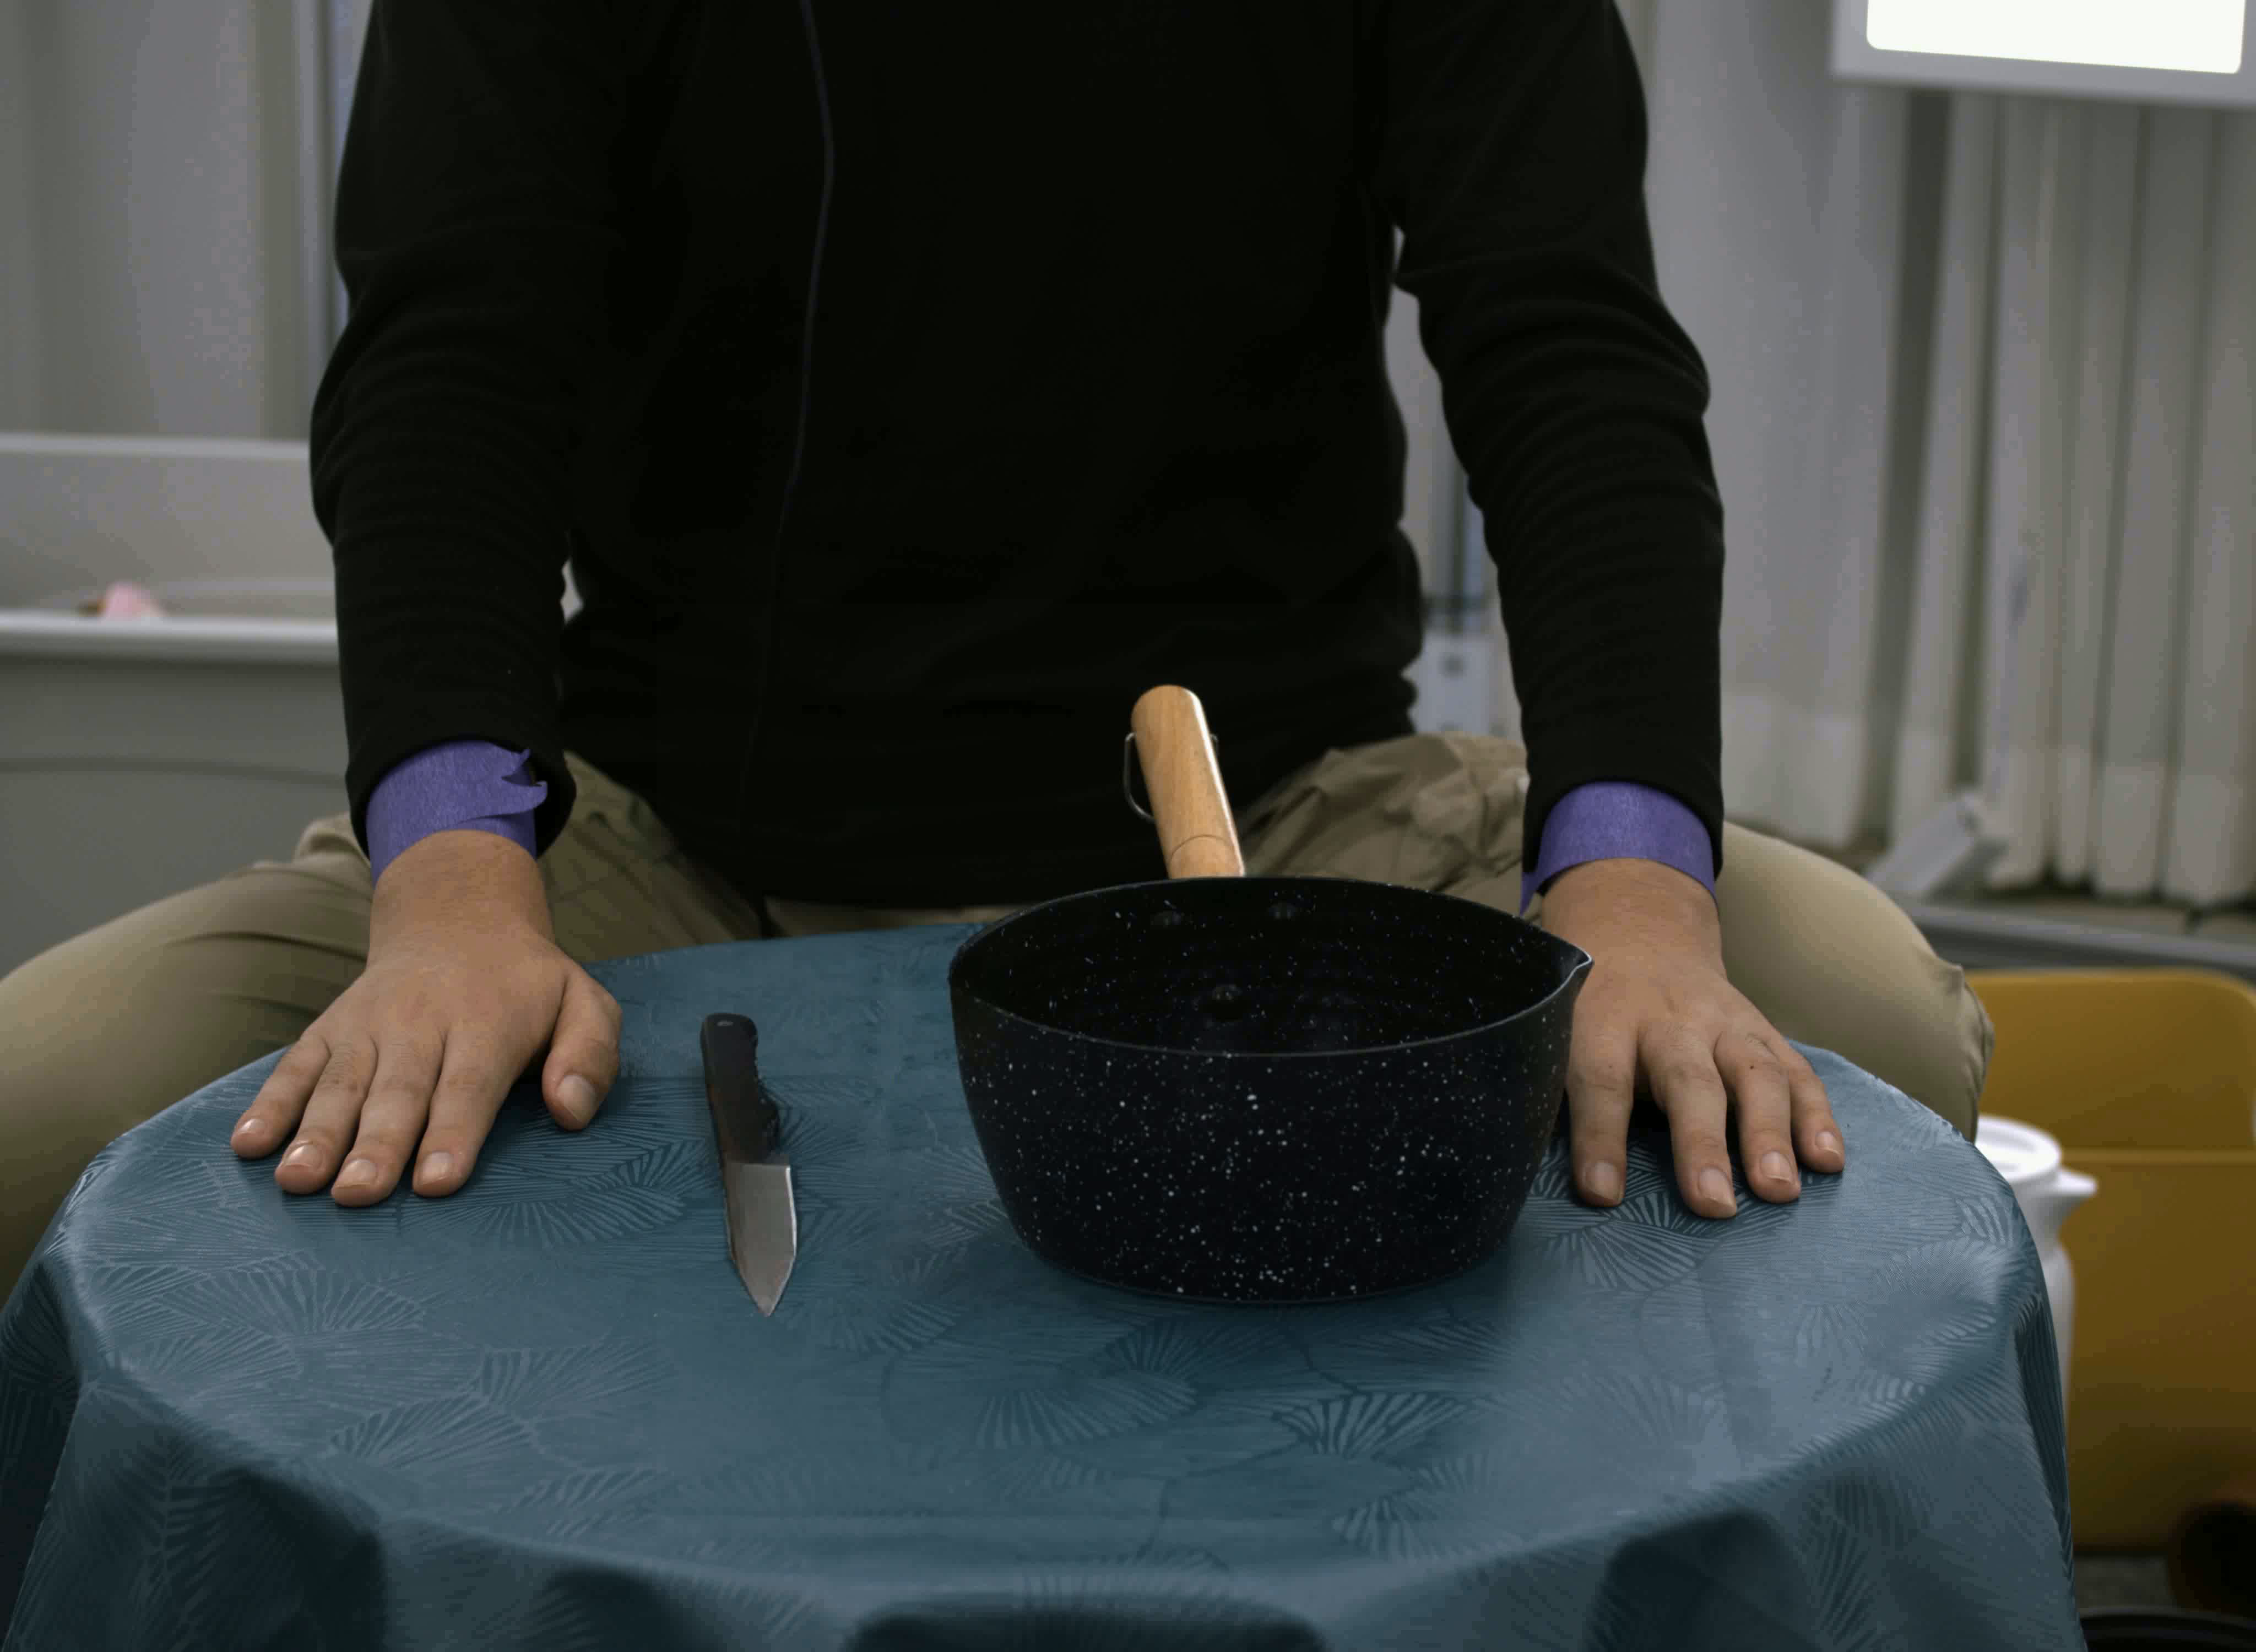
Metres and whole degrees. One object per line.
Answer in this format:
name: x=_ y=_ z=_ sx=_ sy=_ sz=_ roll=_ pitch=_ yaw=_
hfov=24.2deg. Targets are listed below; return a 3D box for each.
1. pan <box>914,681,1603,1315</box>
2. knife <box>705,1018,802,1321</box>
pan: x=0.031 y=0.049 z=1.655 sx=0.207 sy=0.109 sz=0.340 roll=-2 pitch=17 yaw=-7
knife: x=-0.117 y=0.105 z=1.626 sx=0.024 sy=0.016 sz=0.236 roll=2 pitch=18 yaw=-8
